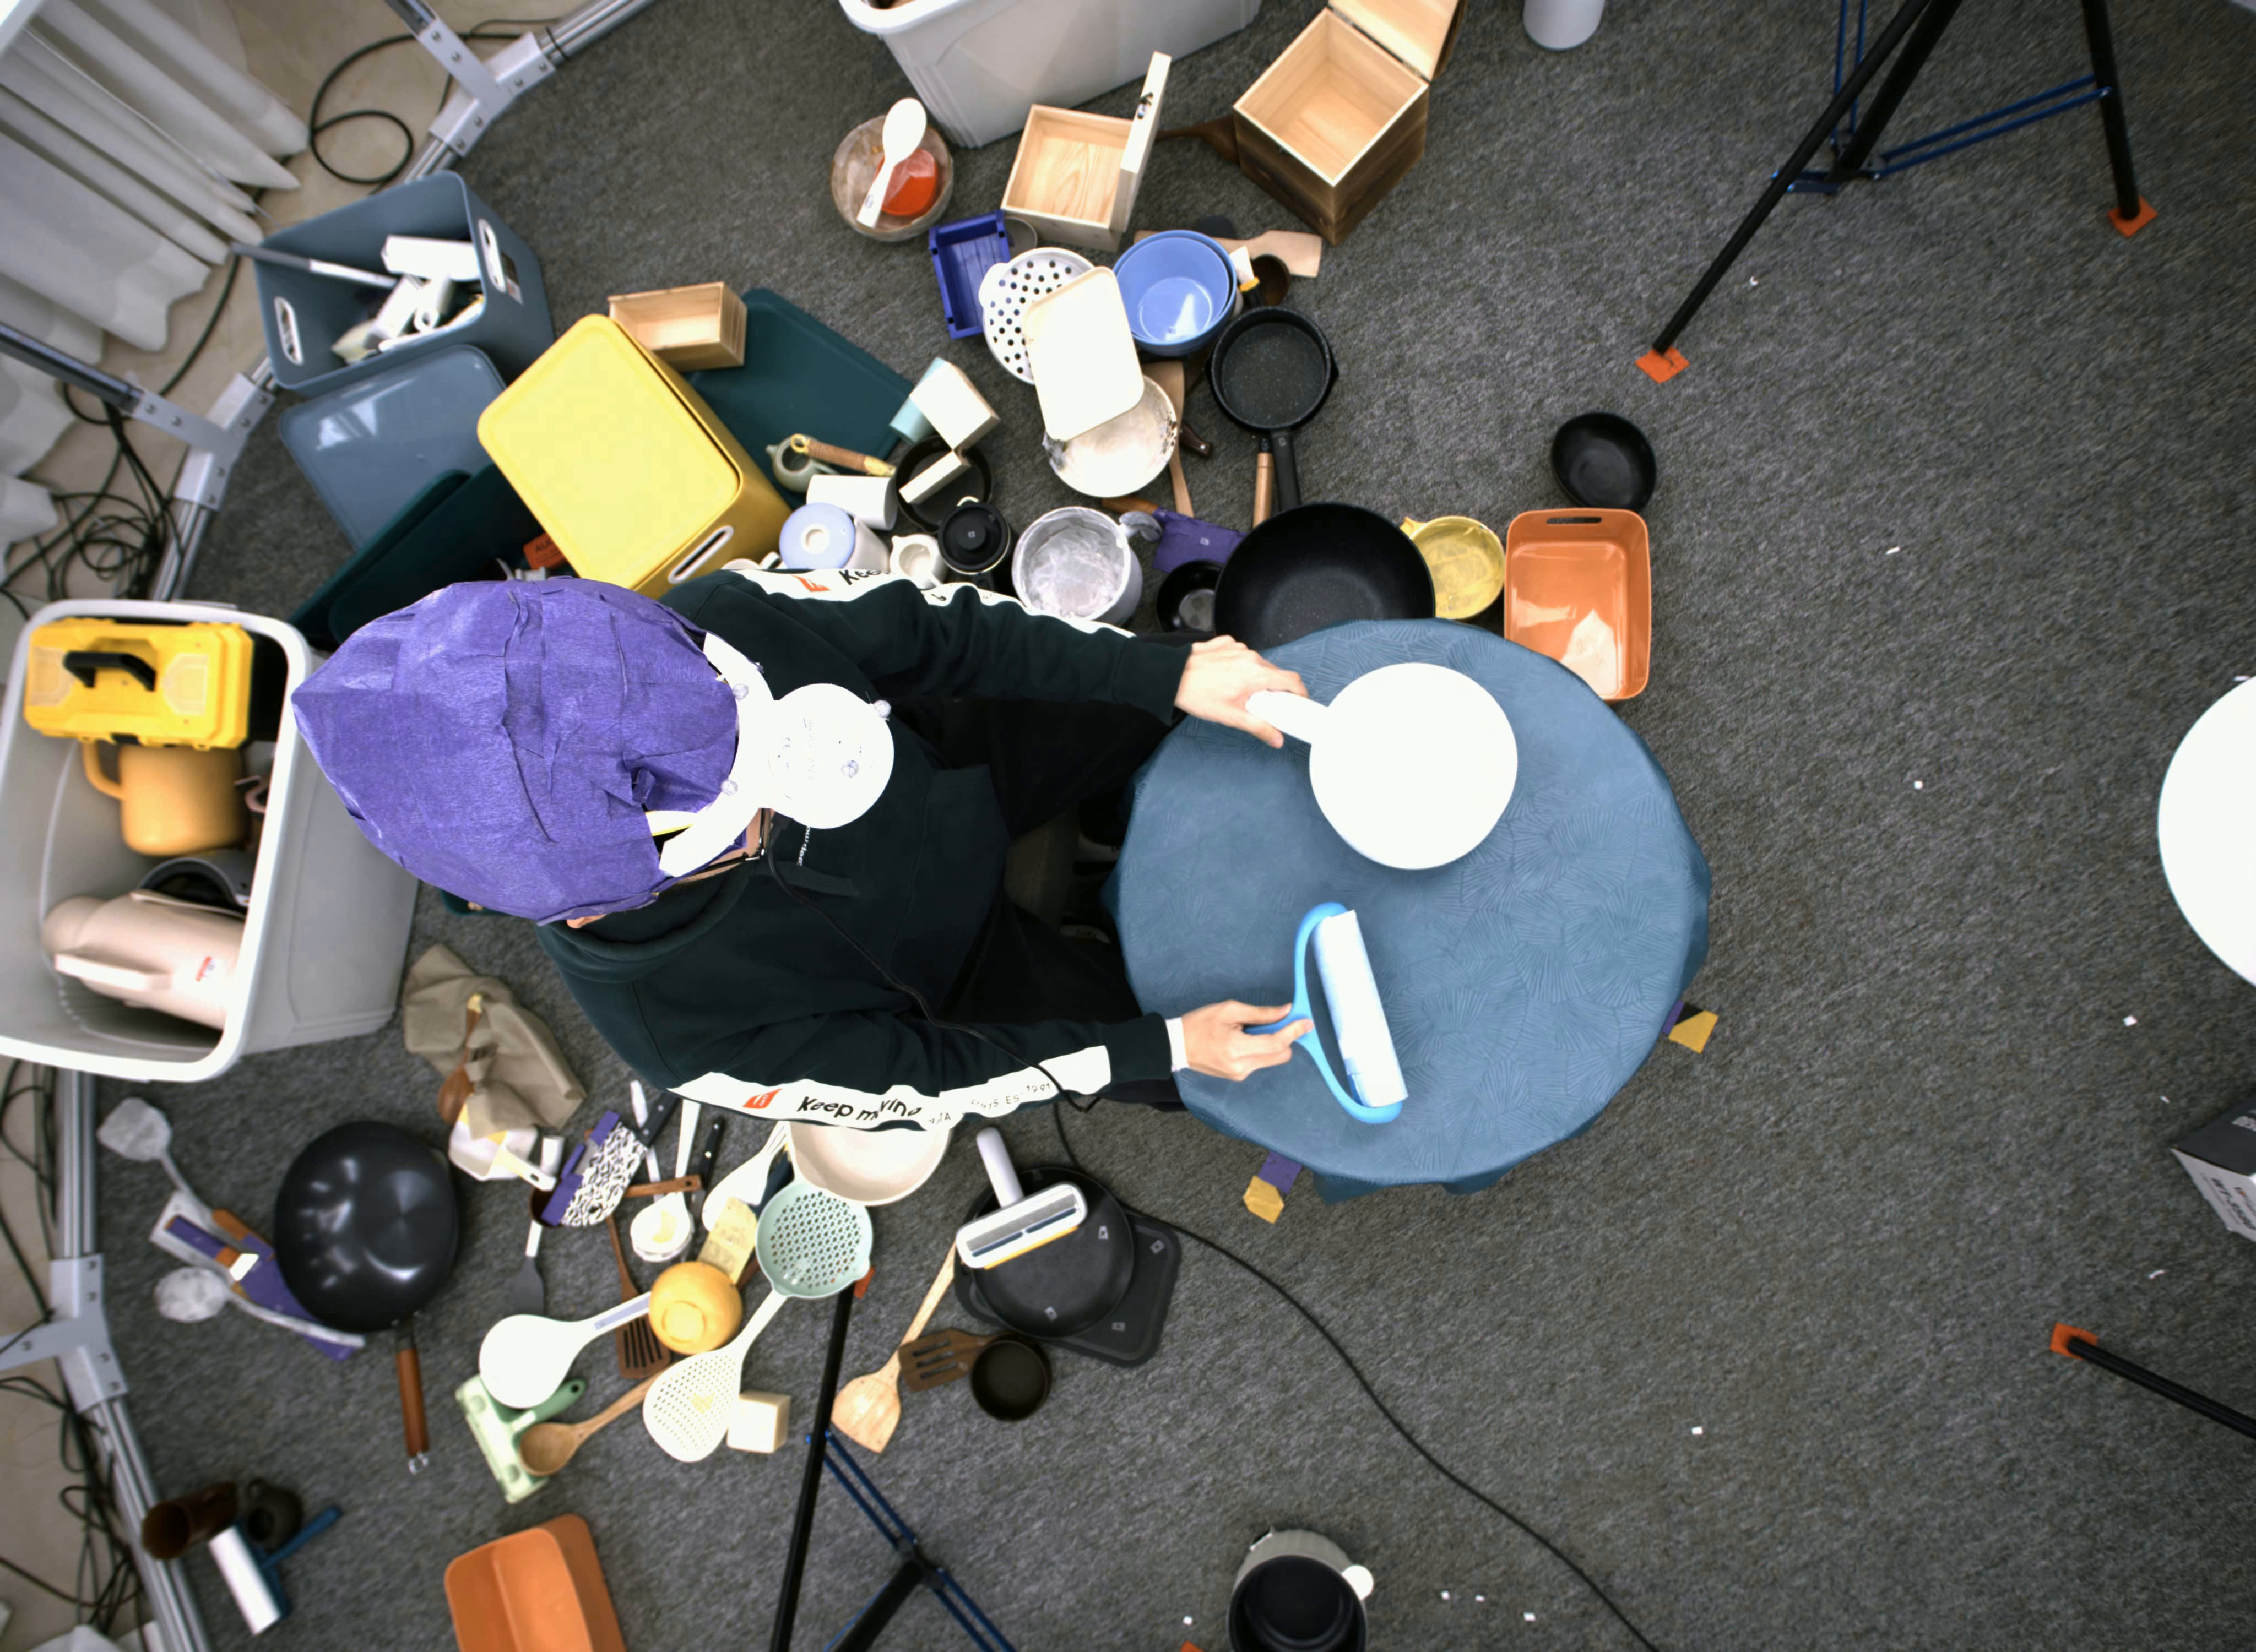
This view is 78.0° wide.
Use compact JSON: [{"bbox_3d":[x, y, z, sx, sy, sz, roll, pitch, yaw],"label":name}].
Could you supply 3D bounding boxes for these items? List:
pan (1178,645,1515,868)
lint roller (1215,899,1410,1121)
[{"bbox_3d":[0.221,-0.090,1.415,0.354,0.102,0.200,25,87,17],"label":"pan"},{"bbox_3d":[0.175,0.202,1.406,0.181,0.068,0.228,-19,85,6],"label":"lint roller"}]
